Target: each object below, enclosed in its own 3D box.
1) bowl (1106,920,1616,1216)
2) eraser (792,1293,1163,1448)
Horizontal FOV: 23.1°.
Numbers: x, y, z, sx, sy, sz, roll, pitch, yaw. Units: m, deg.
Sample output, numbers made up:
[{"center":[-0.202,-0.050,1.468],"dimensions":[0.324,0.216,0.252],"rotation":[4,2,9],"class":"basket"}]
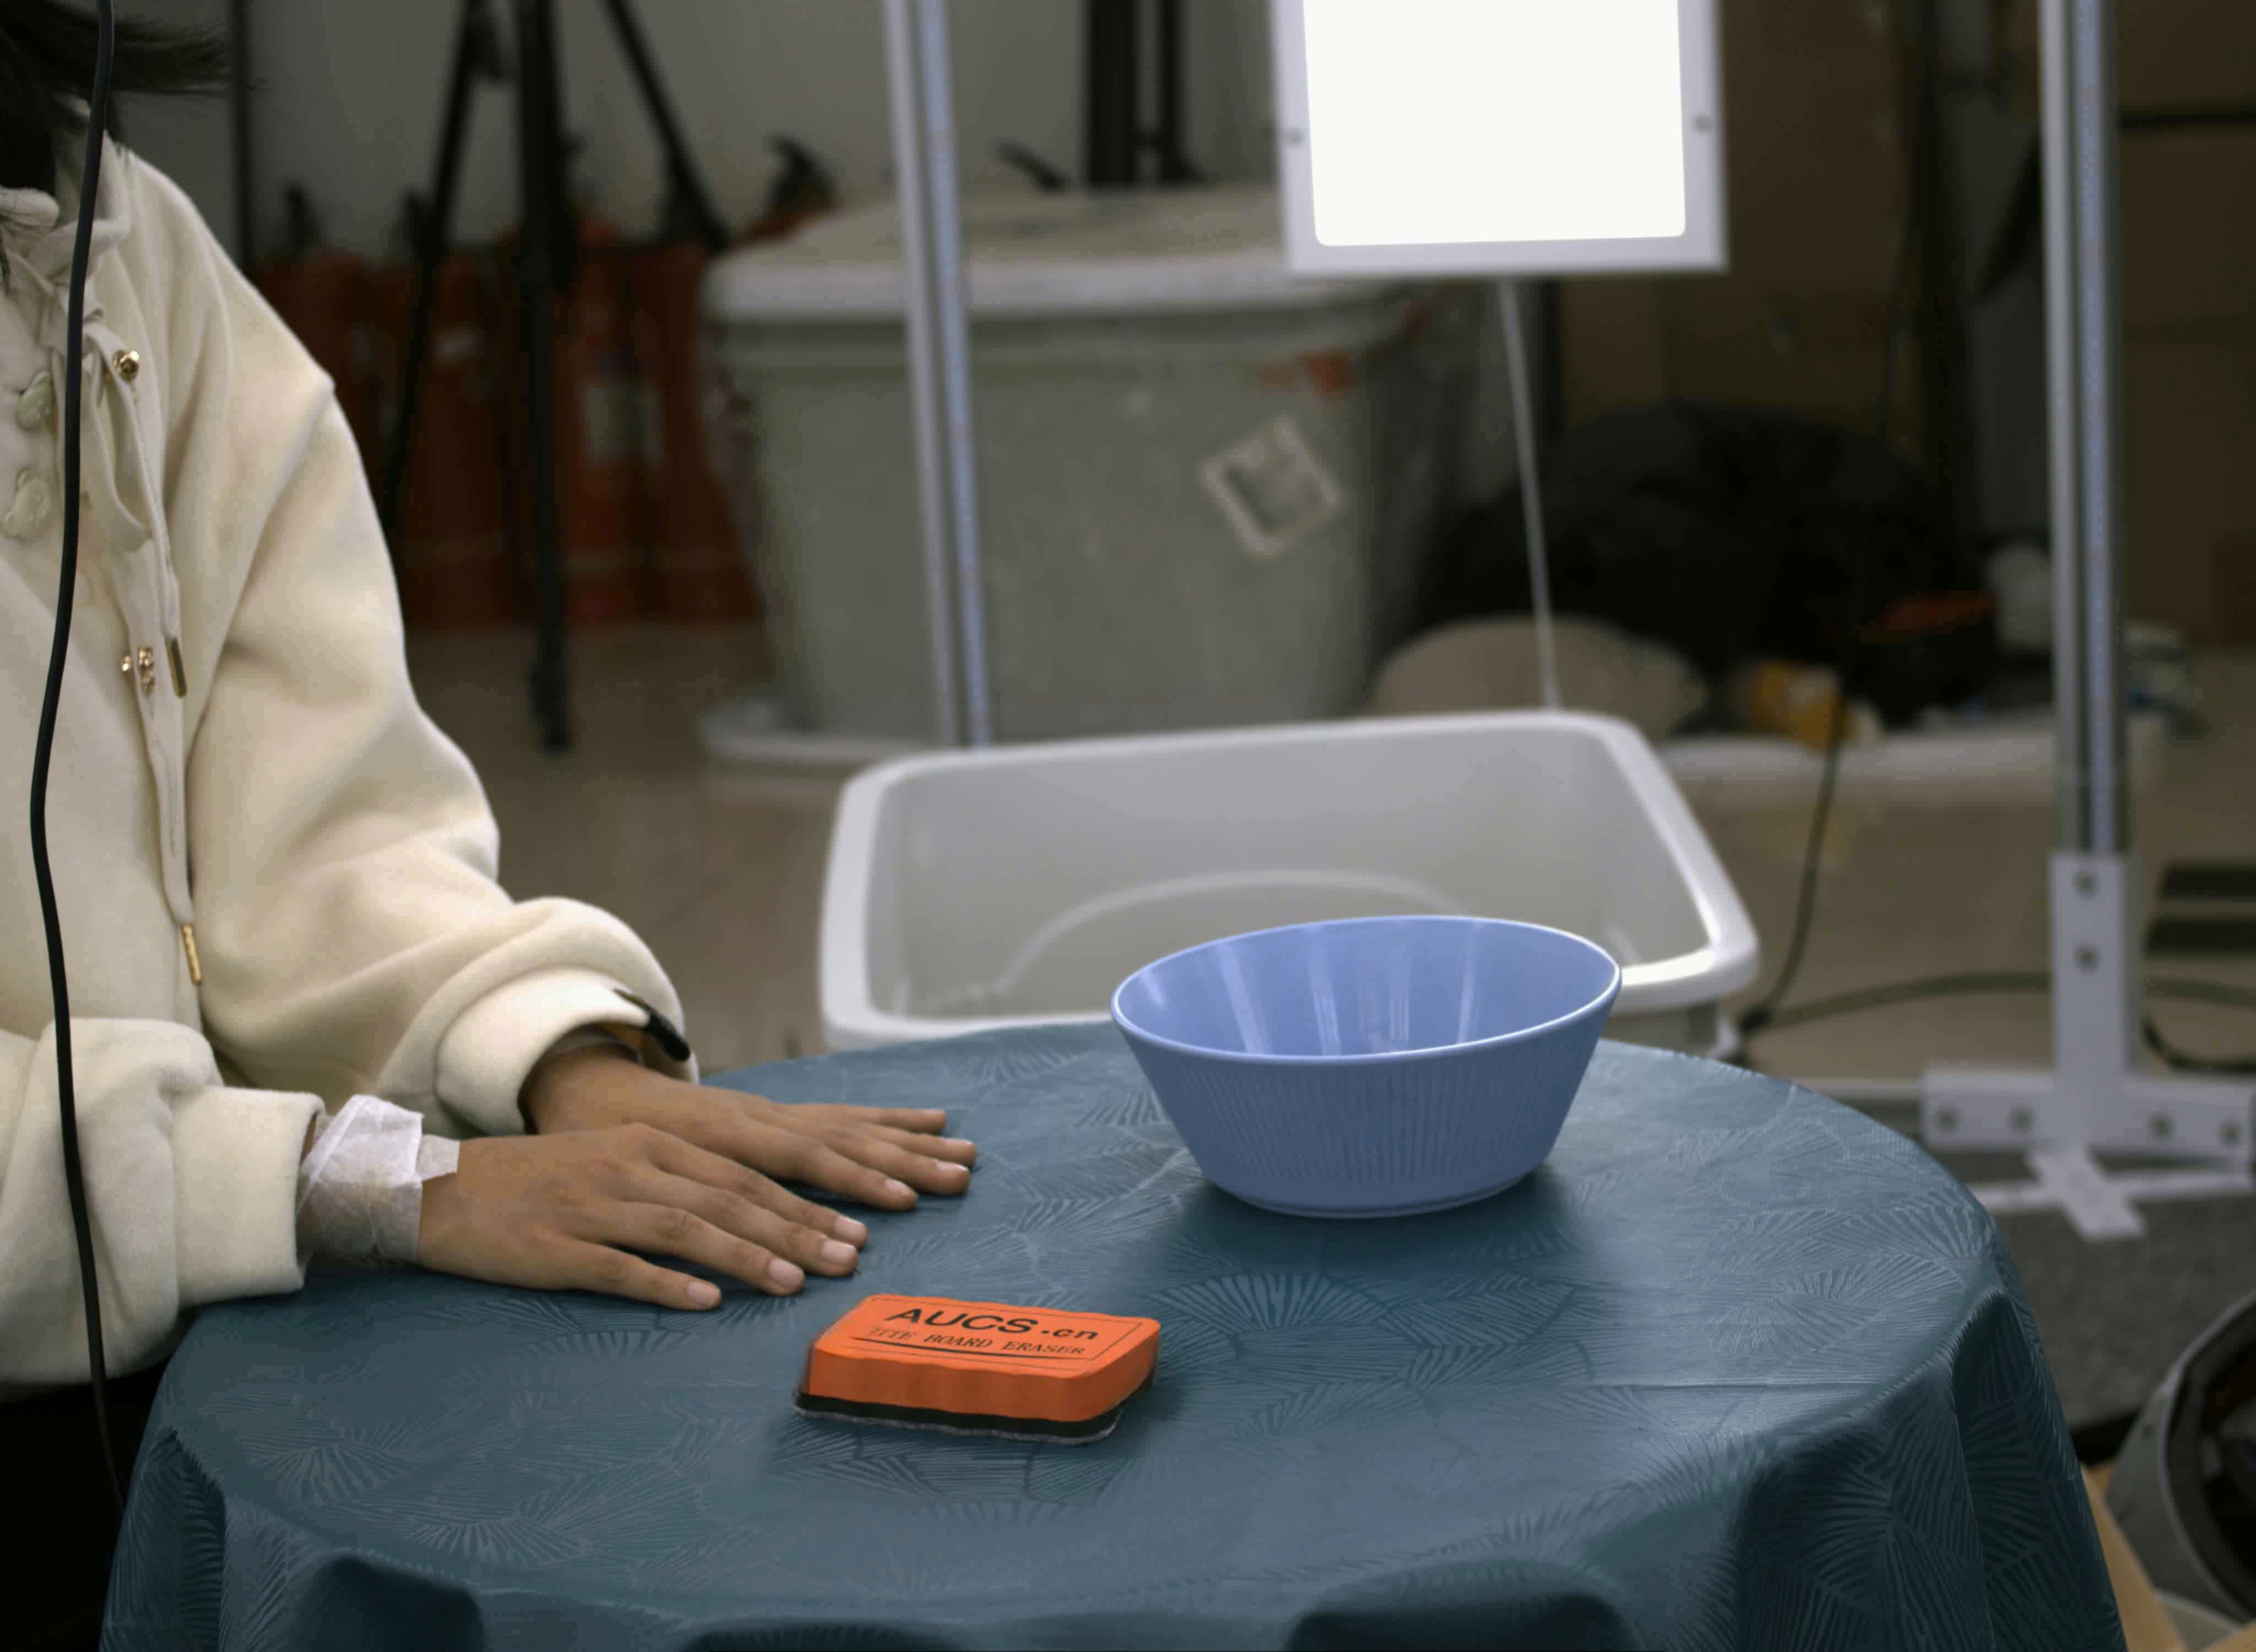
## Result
[{"center":[0.082,0.085,1.888],"dimensions":[0.175,0.070,0.176],"rotation":[-5,14,0],"class":"bowl"},{"center":[-0.046,0.167,1.701],"dimensions":[0.110,0.023,0.057],"rotation":[3,18,30],"class":"eraser"}]
